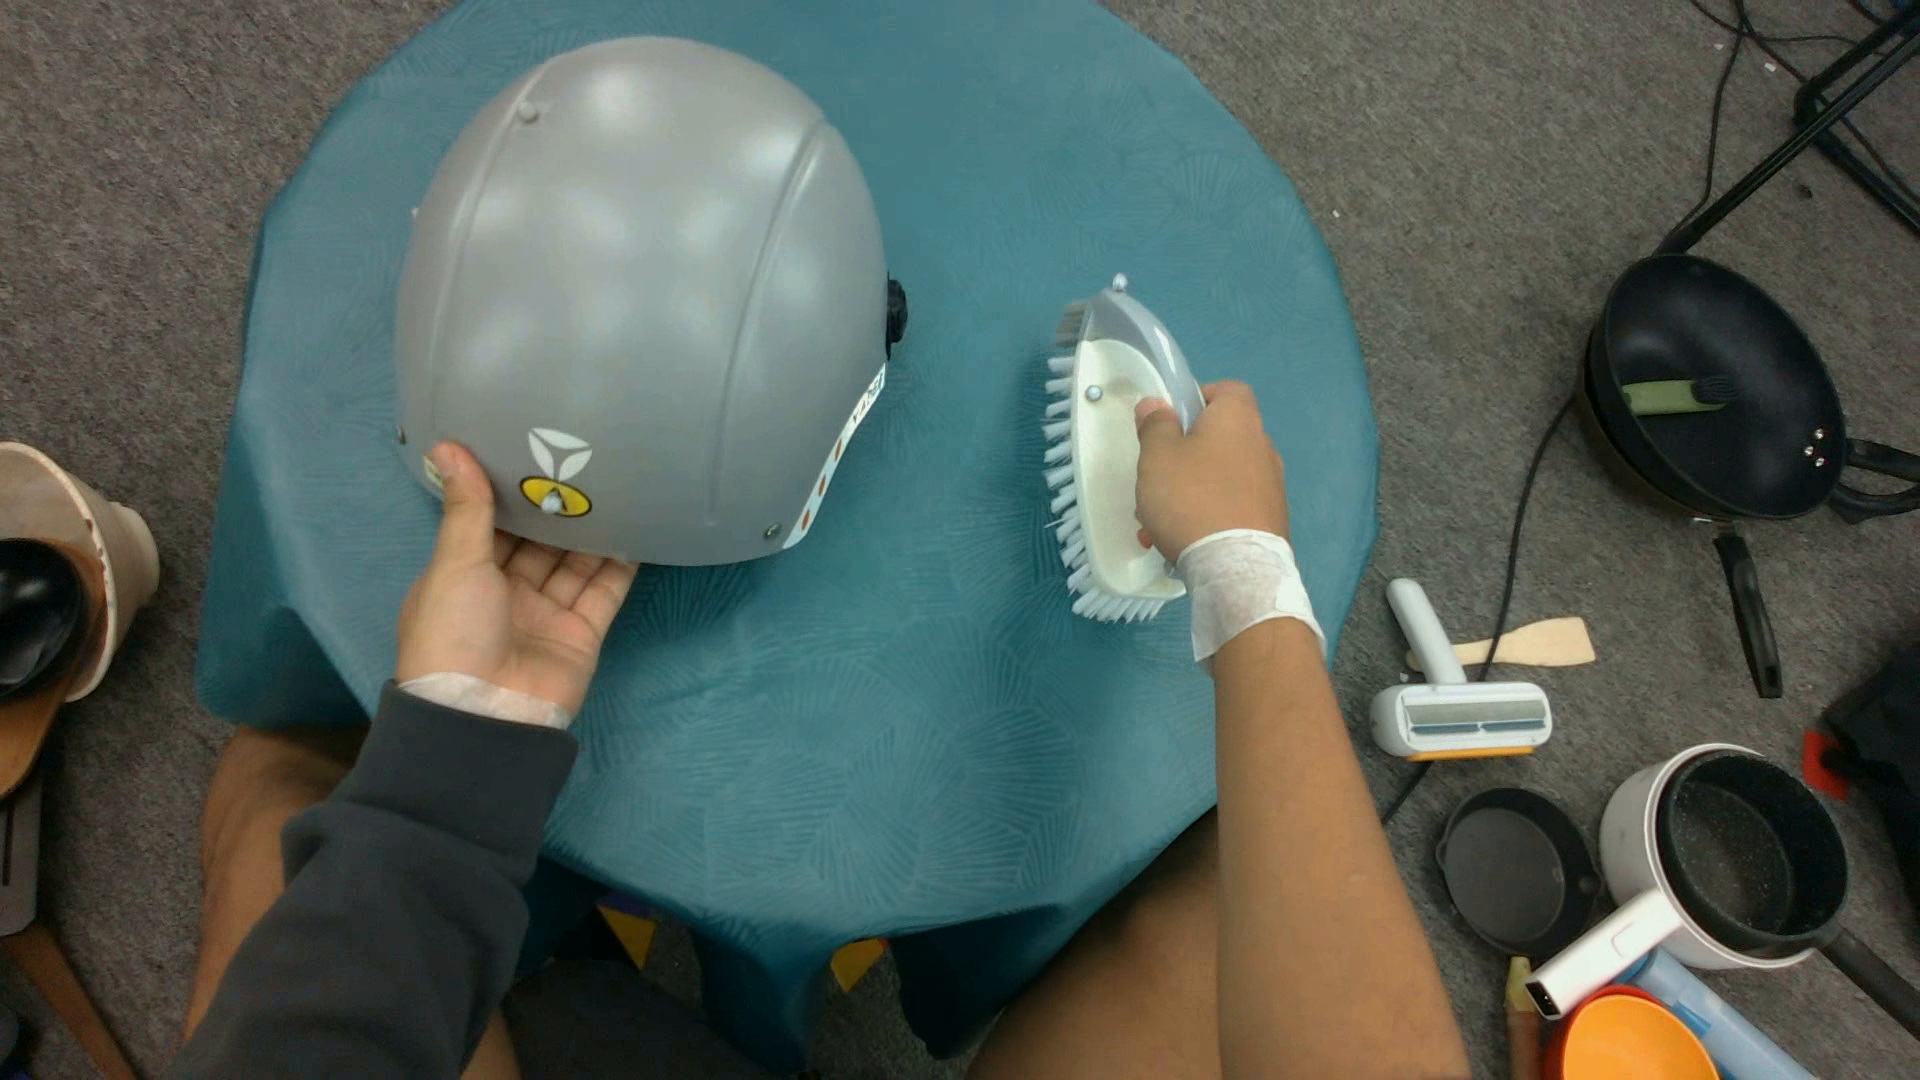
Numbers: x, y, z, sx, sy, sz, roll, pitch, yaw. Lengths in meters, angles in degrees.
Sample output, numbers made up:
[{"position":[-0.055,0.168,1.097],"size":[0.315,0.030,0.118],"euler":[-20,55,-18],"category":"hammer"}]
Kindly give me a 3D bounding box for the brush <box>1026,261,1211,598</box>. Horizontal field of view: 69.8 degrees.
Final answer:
[{"position":[0.077,-0.068,0.671],"size":[0.061,0.094,0.176],"euler":[6,65,-30],"category":"brush"}]

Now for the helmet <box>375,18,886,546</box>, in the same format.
[{"position":[-0.146,-0.140,0.624],"size":[0.232,0.168,0.277],"euler":[14,58,-5],"category":"helmet"}]
